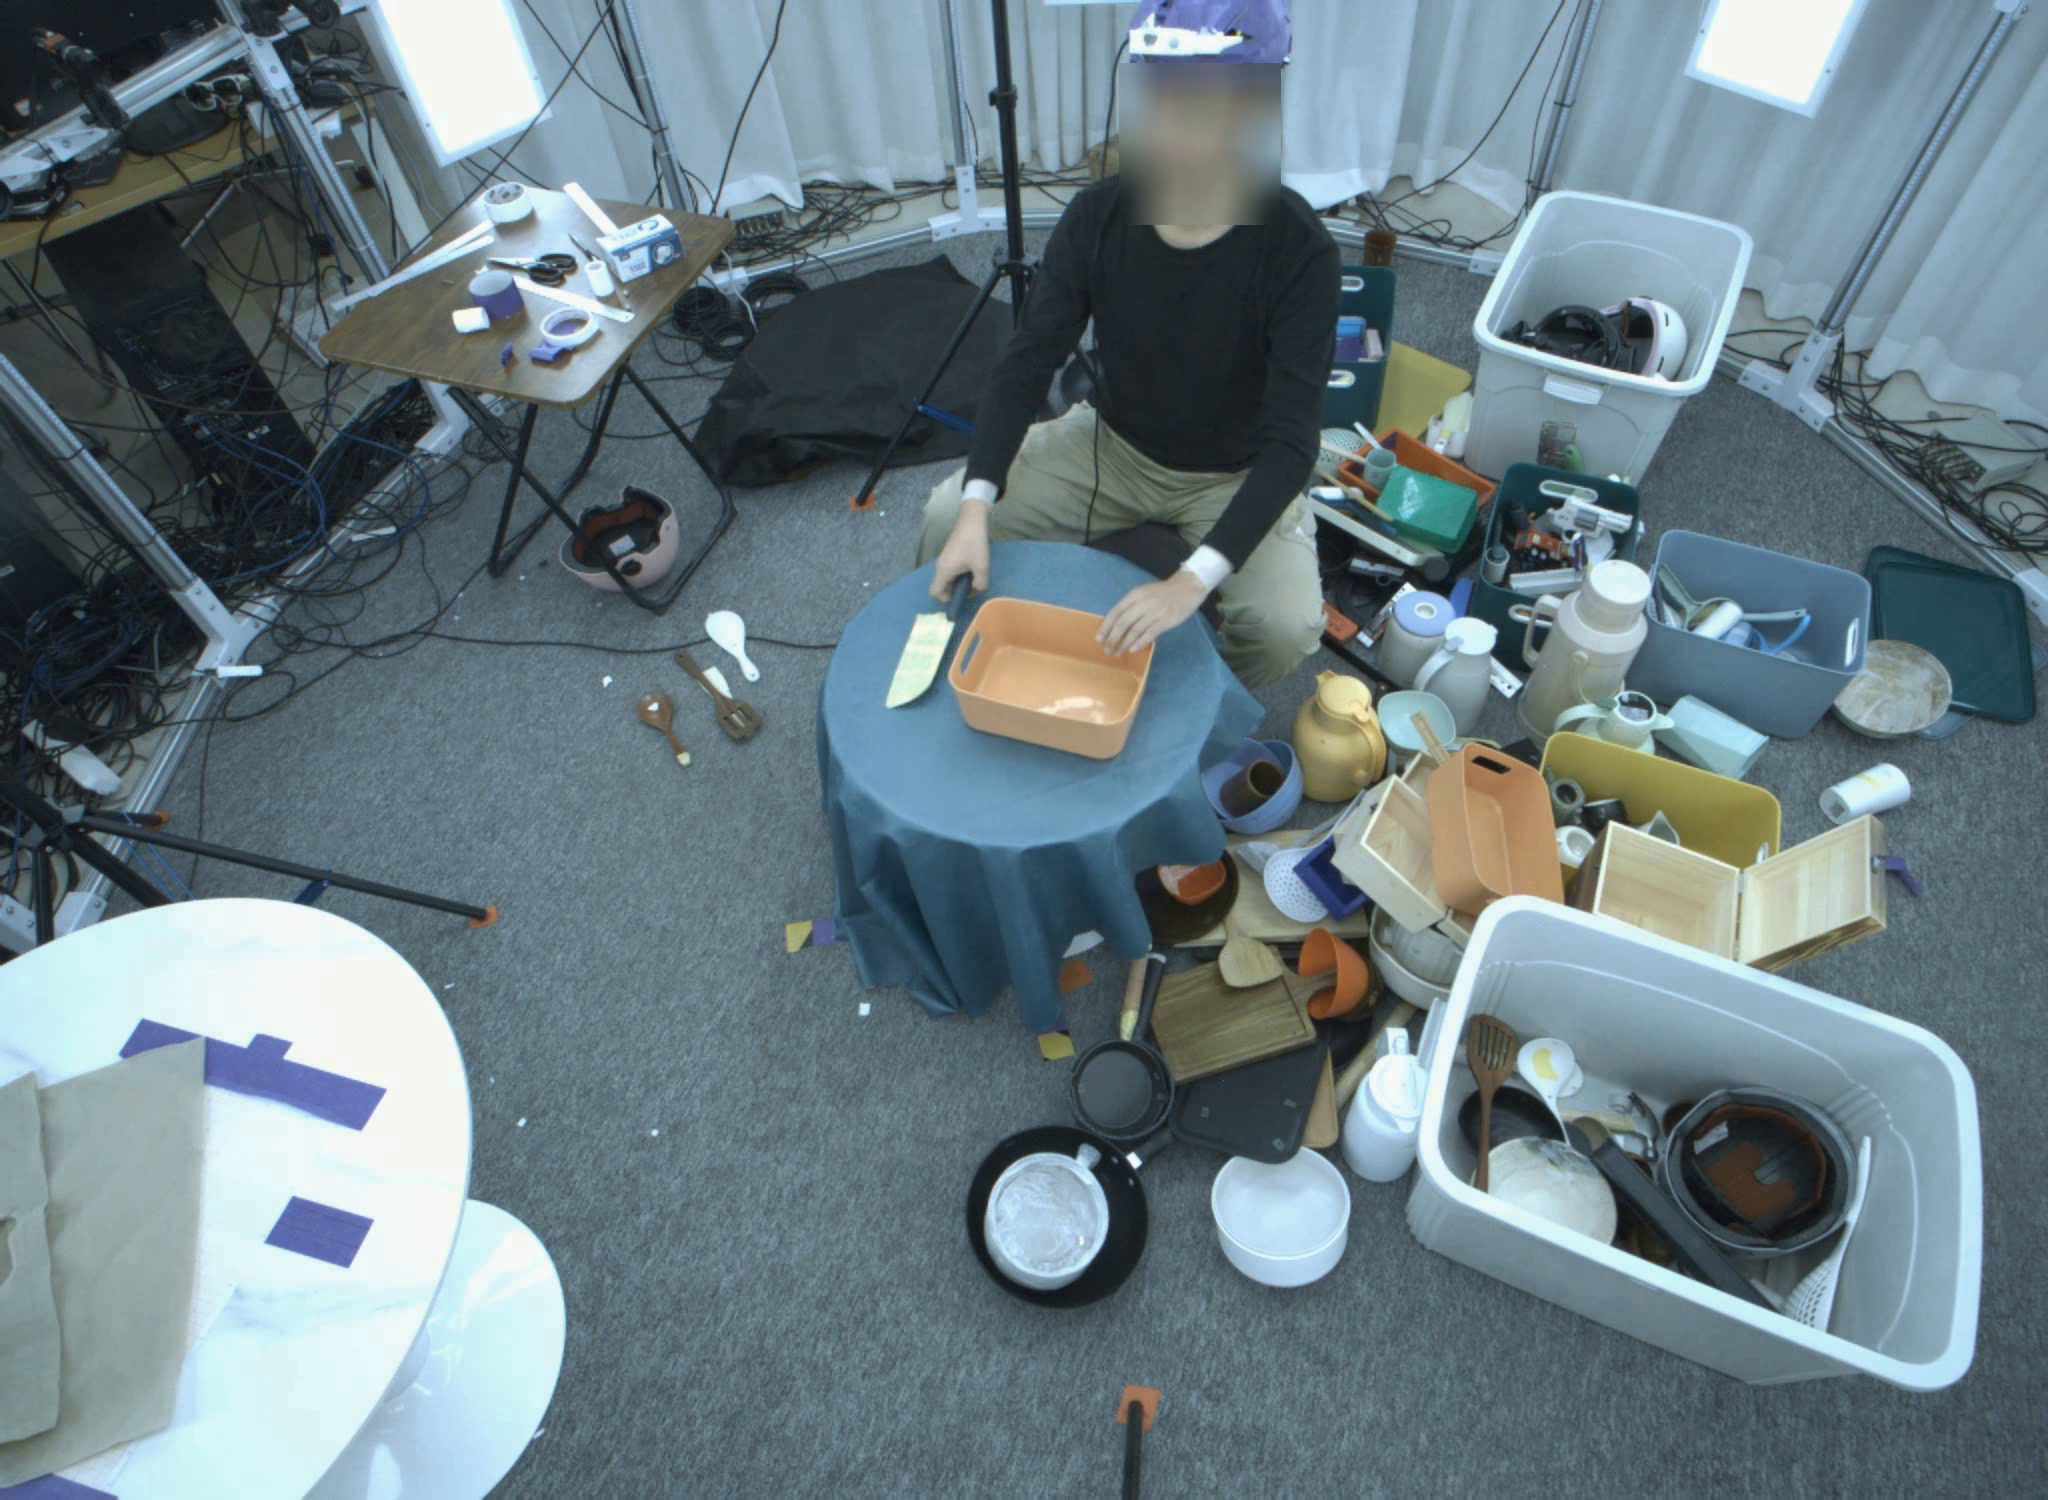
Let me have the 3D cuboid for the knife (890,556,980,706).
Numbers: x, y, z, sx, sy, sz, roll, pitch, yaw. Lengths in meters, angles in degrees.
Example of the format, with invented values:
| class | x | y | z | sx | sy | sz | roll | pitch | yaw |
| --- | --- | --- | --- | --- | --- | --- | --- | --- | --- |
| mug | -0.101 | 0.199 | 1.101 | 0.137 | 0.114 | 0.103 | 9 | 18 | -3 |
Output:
| class | x | y | z | sx | sy | sz | roll | pitch | yaw |
| --- | --- | --- | --- | --- | --- | --- | --- | --- | --- |
| knife | -0.137 | -0.185 | 1.889 | 0.080 | 0.028 | 0.289 | 12 | 63 | 23 |

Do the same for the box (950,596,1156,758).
| class | x | y | z | sx | sy | sz | roll | pitch | yaw |
| --- | --- | --- | --- | --- | --- | --- | --- | --- | --- |
| box | 0.045 | -0.104 | 1.796 | 0.271 | 0.104 | 0.199 | 14 | 57 | 12 |
